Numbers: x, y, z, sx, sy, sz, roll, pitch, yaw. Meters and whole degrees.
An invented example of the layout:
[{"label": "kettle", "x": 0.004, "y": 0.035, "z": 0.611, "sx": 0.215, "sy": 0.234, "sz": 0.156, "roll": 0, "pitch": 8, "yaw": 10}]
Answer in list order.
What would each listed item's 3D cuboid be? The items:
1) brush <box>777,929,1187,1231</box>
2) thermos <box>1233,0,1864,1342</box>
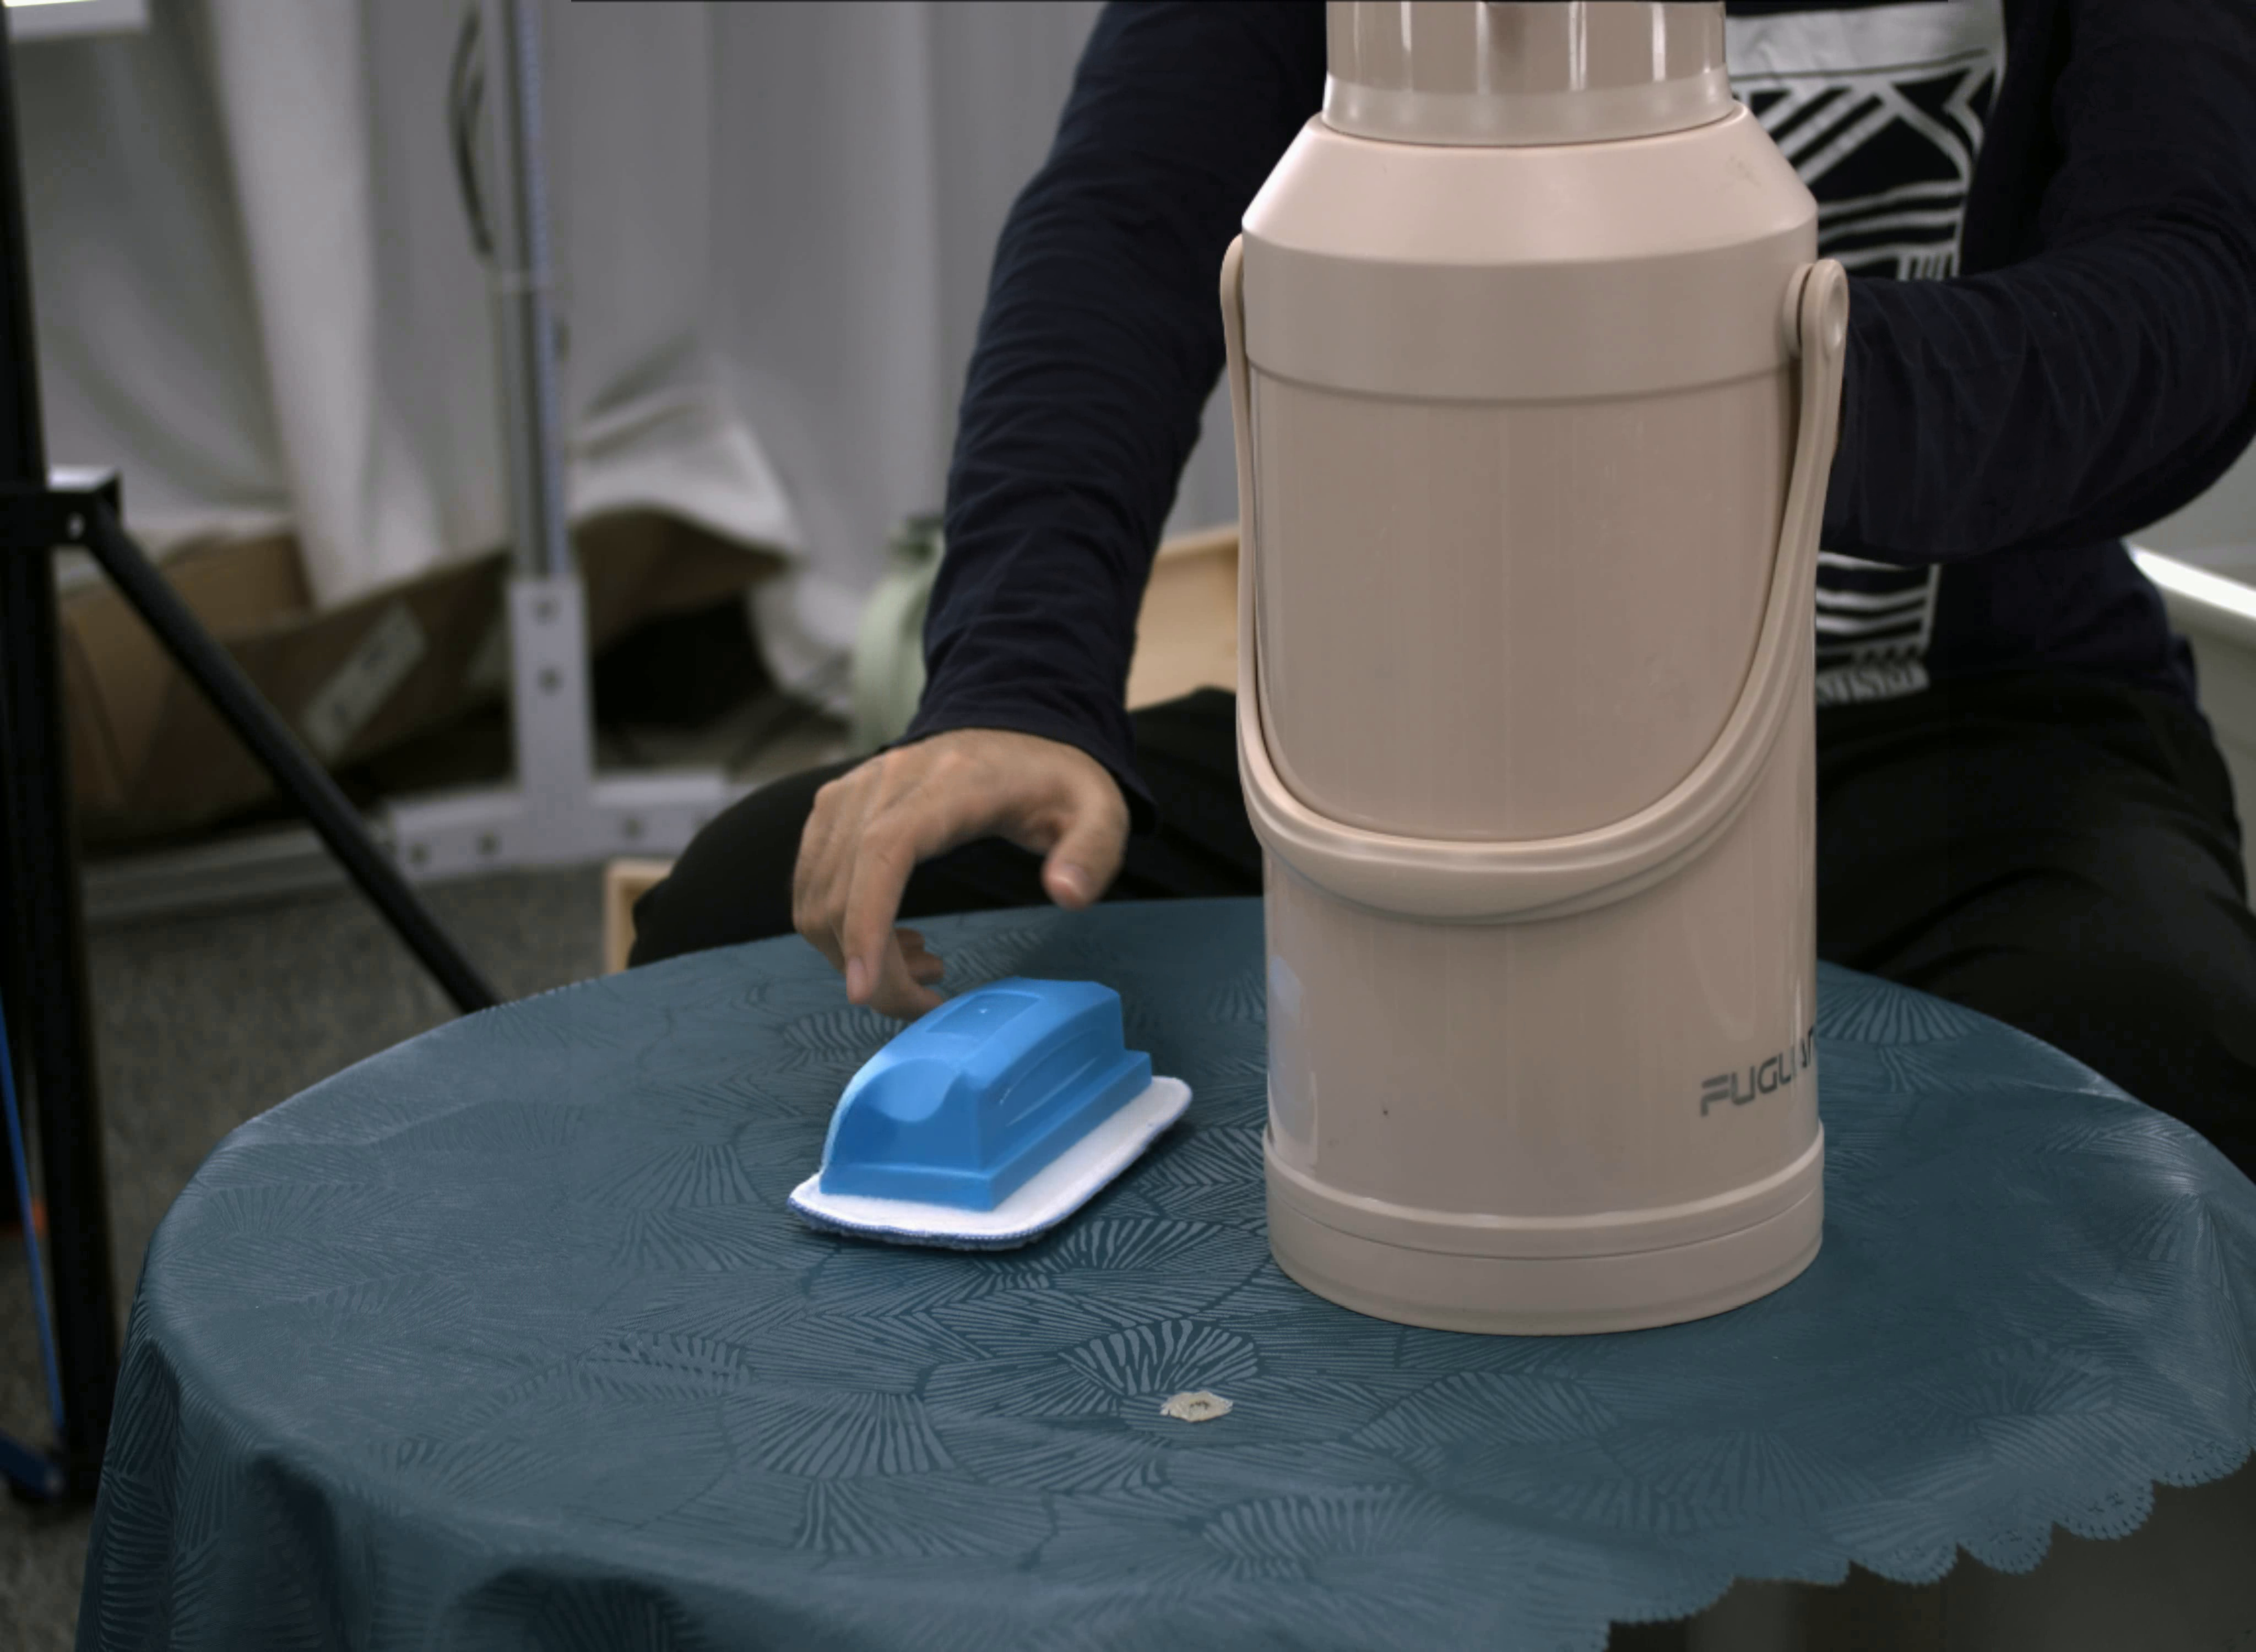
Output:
[{"label": "brush", "x": -0.041, "y": 0.071, "z": 1.581, "sx": 0.085, "sy": 0.056, "sz": 0.142, "roll": 9, "pitch": 23, "yaw": 23}, {"label": "thermos", "x": 0.122, "y": -0.076, "z": 1.466, "sx": 0.178, "sy": 0.406, "sz": 0.204, "roll": 3, "pitch": 15, "yaw": 26}]
